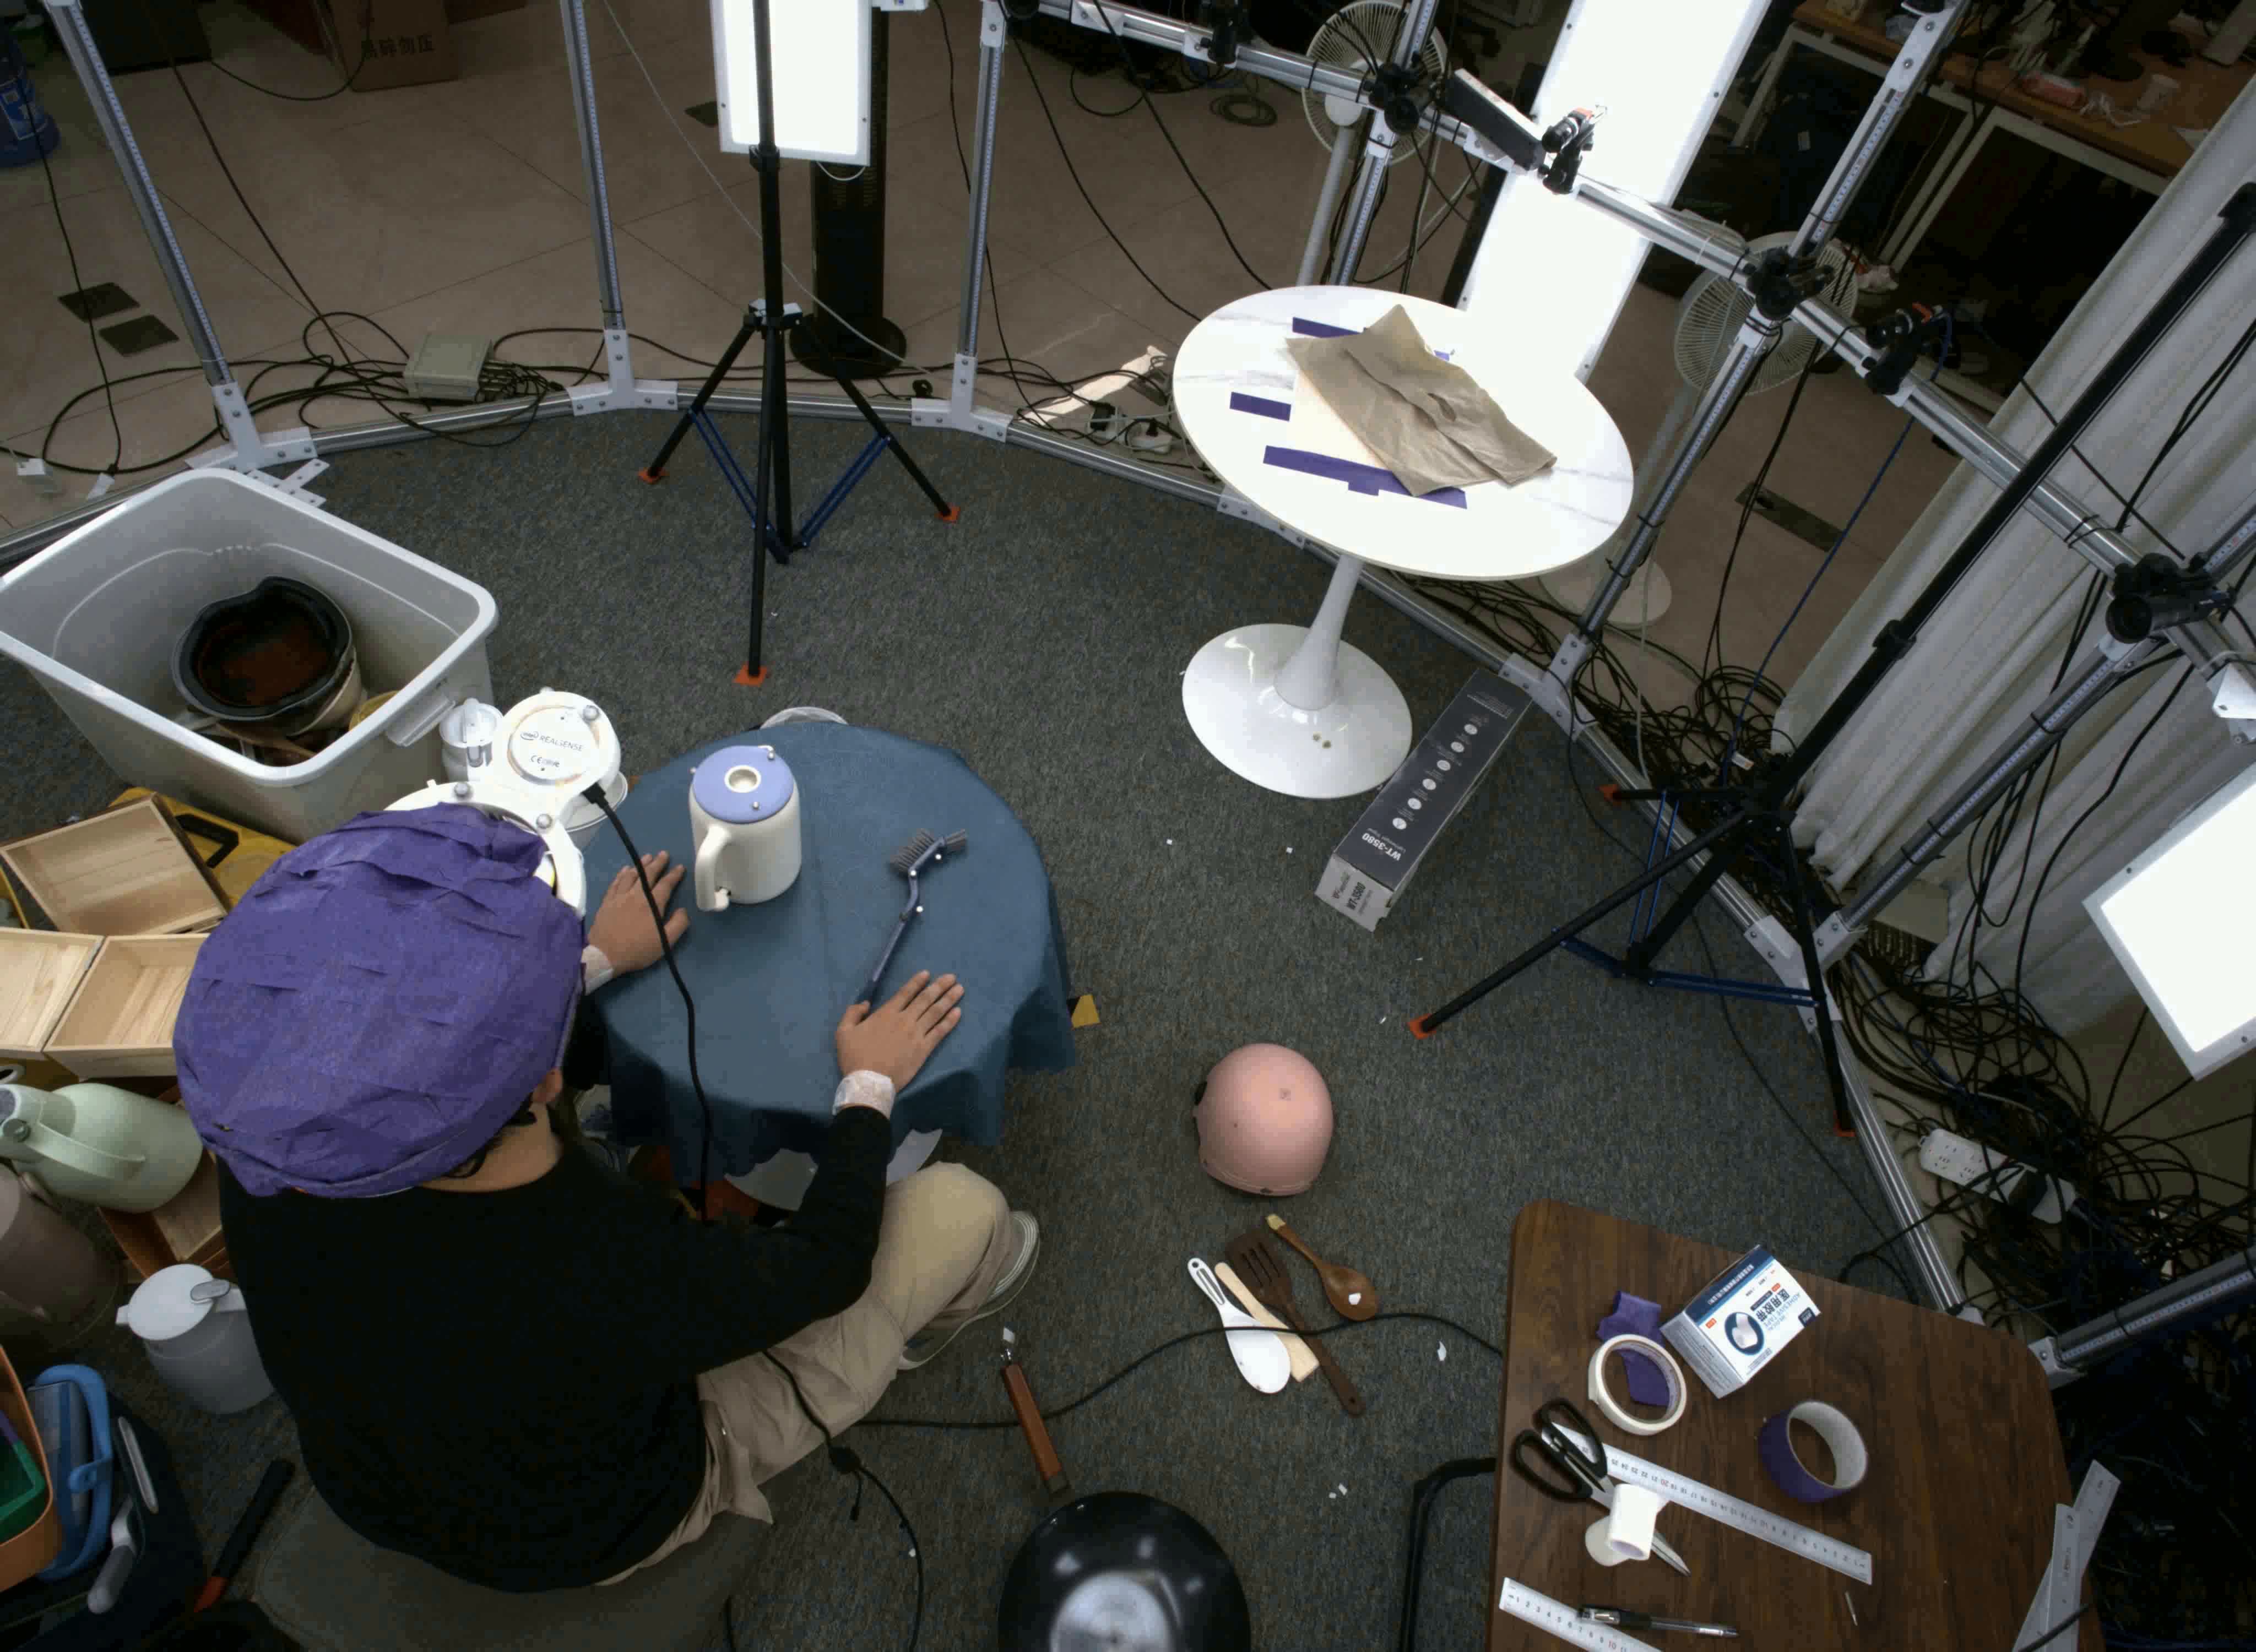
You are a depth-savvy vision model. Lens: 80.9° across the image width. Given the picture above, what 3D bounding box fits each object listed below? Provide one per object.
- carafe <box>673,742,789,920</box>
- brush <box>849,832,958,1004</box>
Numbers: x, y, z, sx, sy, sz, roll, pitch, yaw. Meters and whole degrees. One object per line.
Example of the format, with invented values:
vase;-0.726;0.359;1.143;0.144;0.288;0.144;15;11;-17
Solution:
carafe;-0.494;0.017;1.576;0.131;0.186;0.189;16;52;1
brush;-0.288;0.110;1.653;0.095;0.034;0.269;15;51;-7
